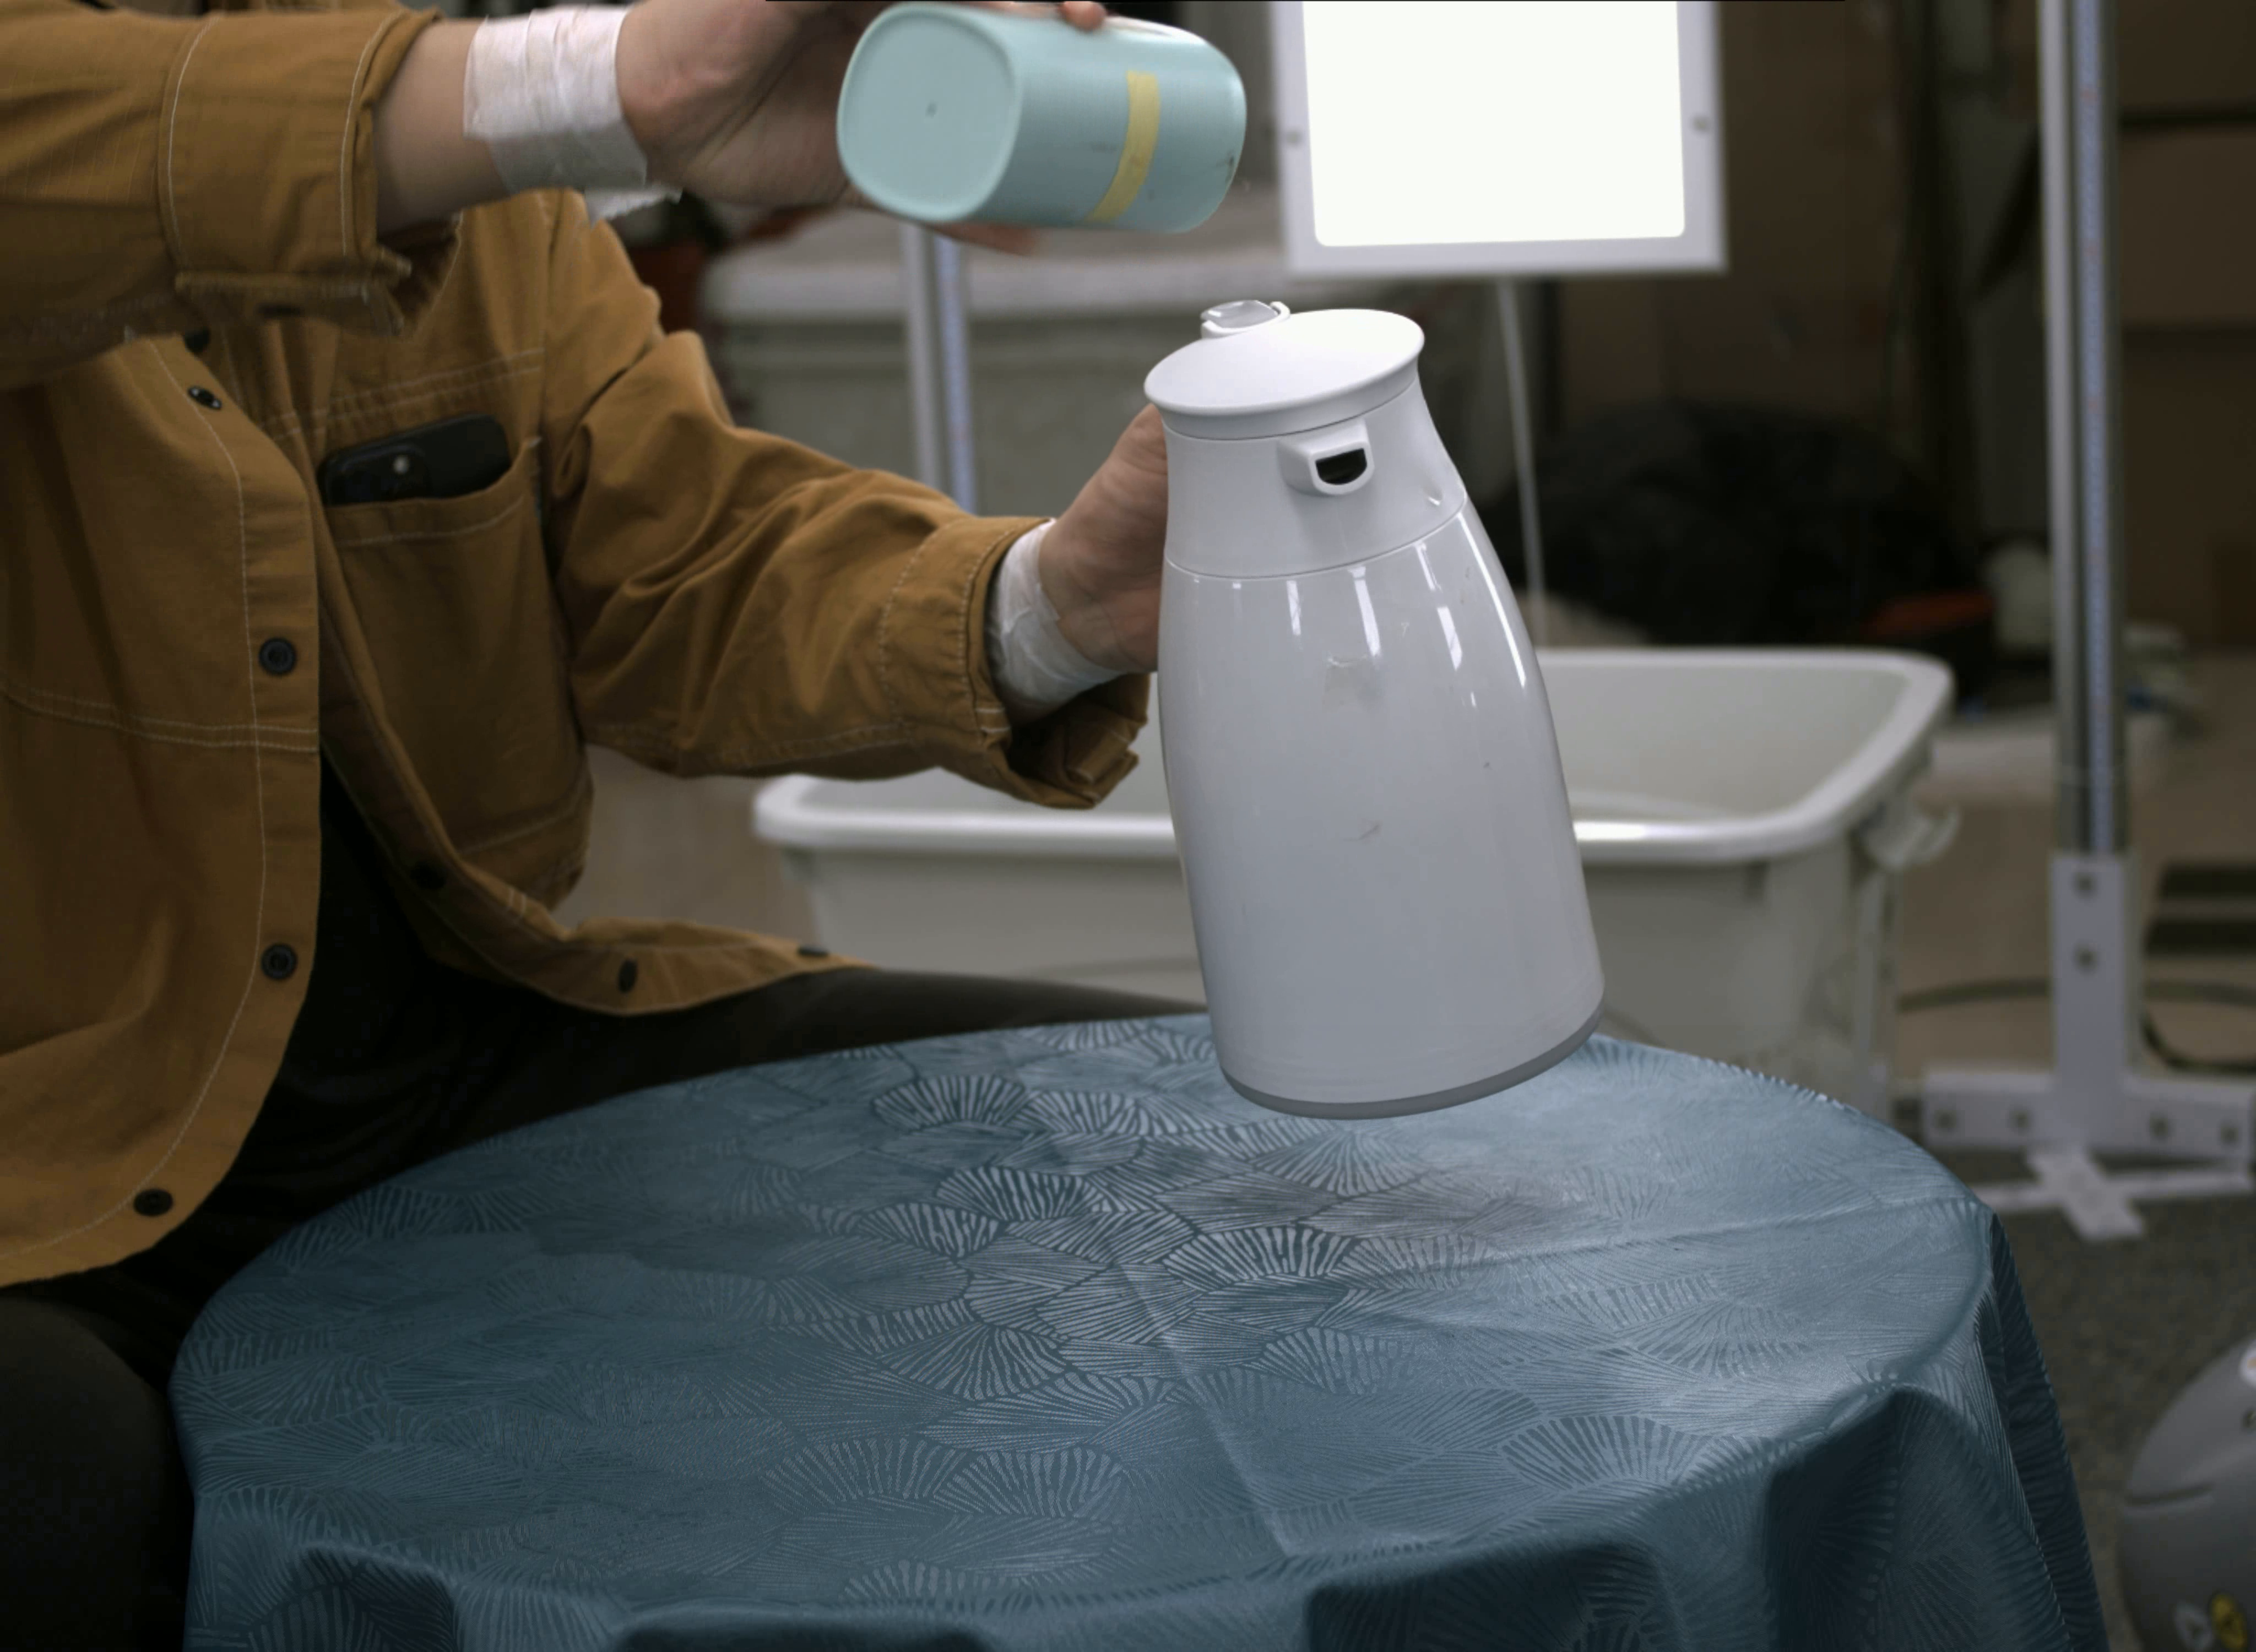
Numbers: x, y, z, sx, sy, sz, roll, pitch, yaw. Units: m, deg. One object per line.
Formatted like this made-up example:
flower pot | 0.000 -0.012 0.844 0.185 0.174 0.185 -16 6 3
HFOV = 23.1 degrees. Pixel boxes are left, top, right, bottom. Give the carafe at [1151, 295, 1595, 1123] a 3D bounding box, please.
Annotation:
carafe | 0.066 -0.048 1.811 0.131 0.249 0.169 -14 20 -7

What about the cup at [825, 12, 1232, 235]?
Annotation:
cup | -0.029 -0.206 1.615 0.068 0.067 0.129 4 7 31
